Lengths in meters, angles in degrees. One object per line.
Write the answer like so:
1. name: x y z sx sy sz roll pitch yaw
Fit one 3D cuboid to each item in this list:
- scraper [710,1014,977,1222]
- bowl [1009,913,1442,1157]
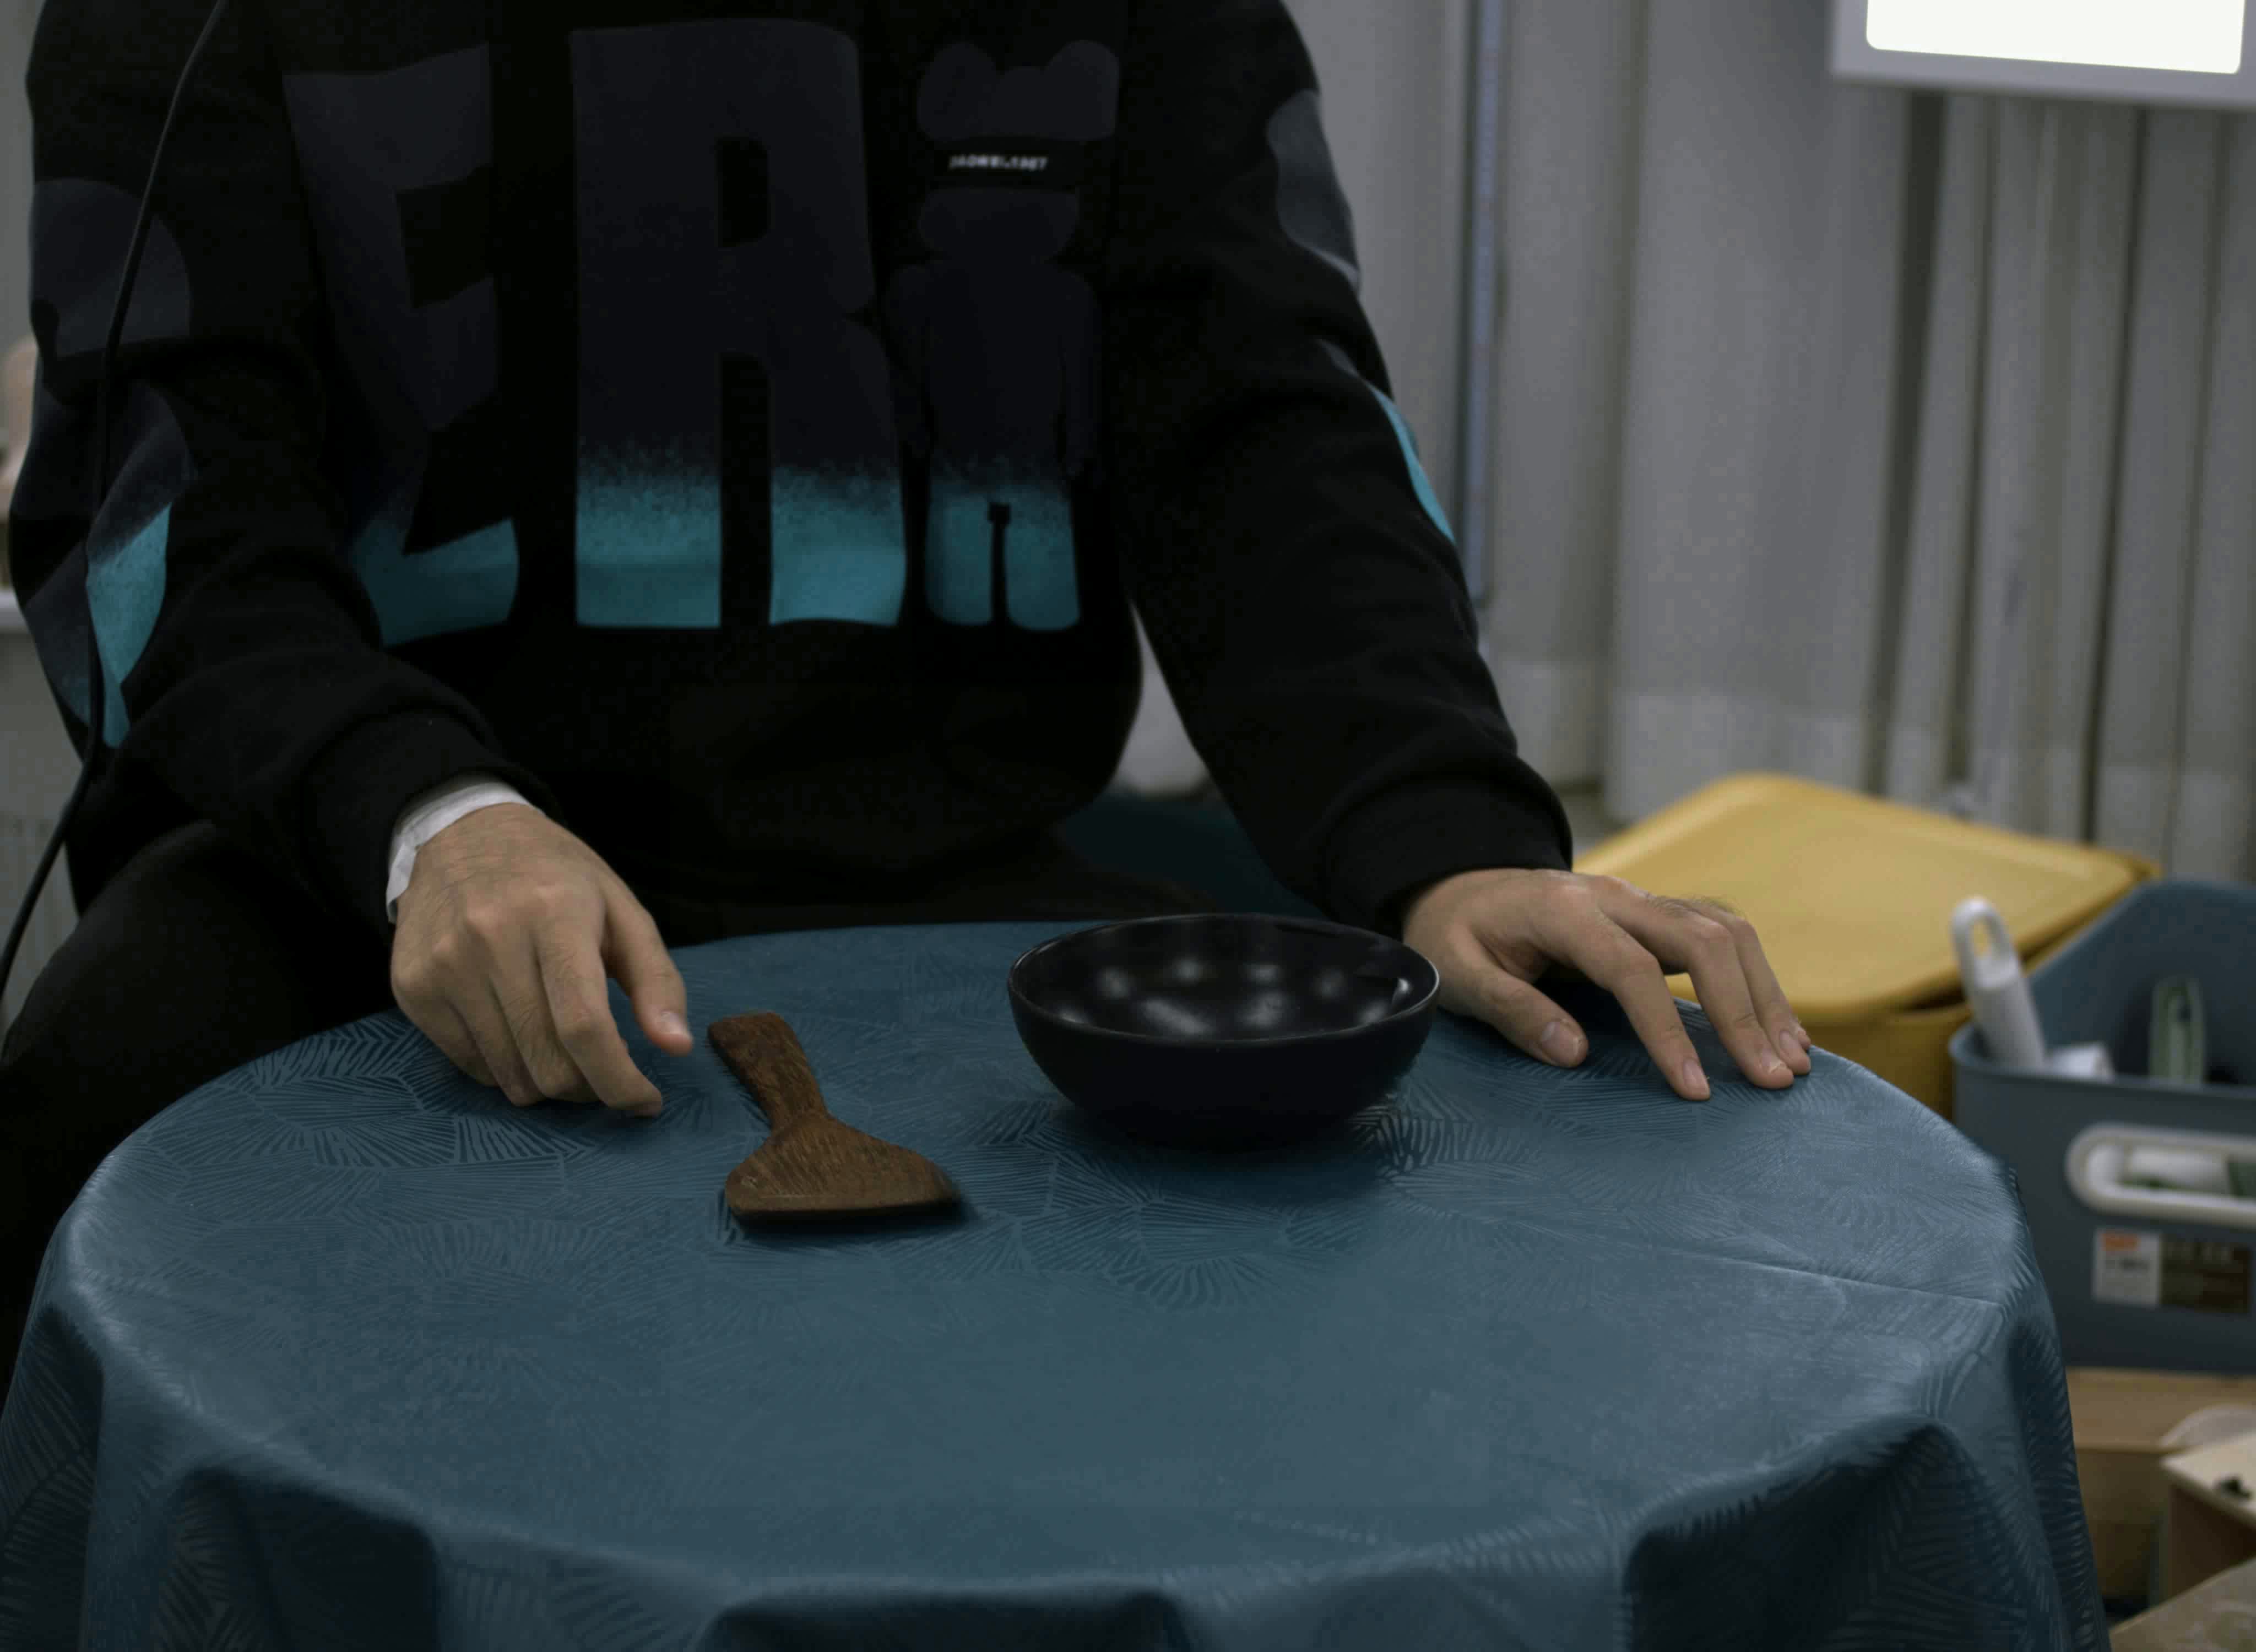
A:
1. scraper: -0.104 0.092 1.679 0.076 0.011 0.209 -2 15 -13
2. bowl: 0.032 0.071 1.687 0.139 0.050 0.139 -2 16 1
